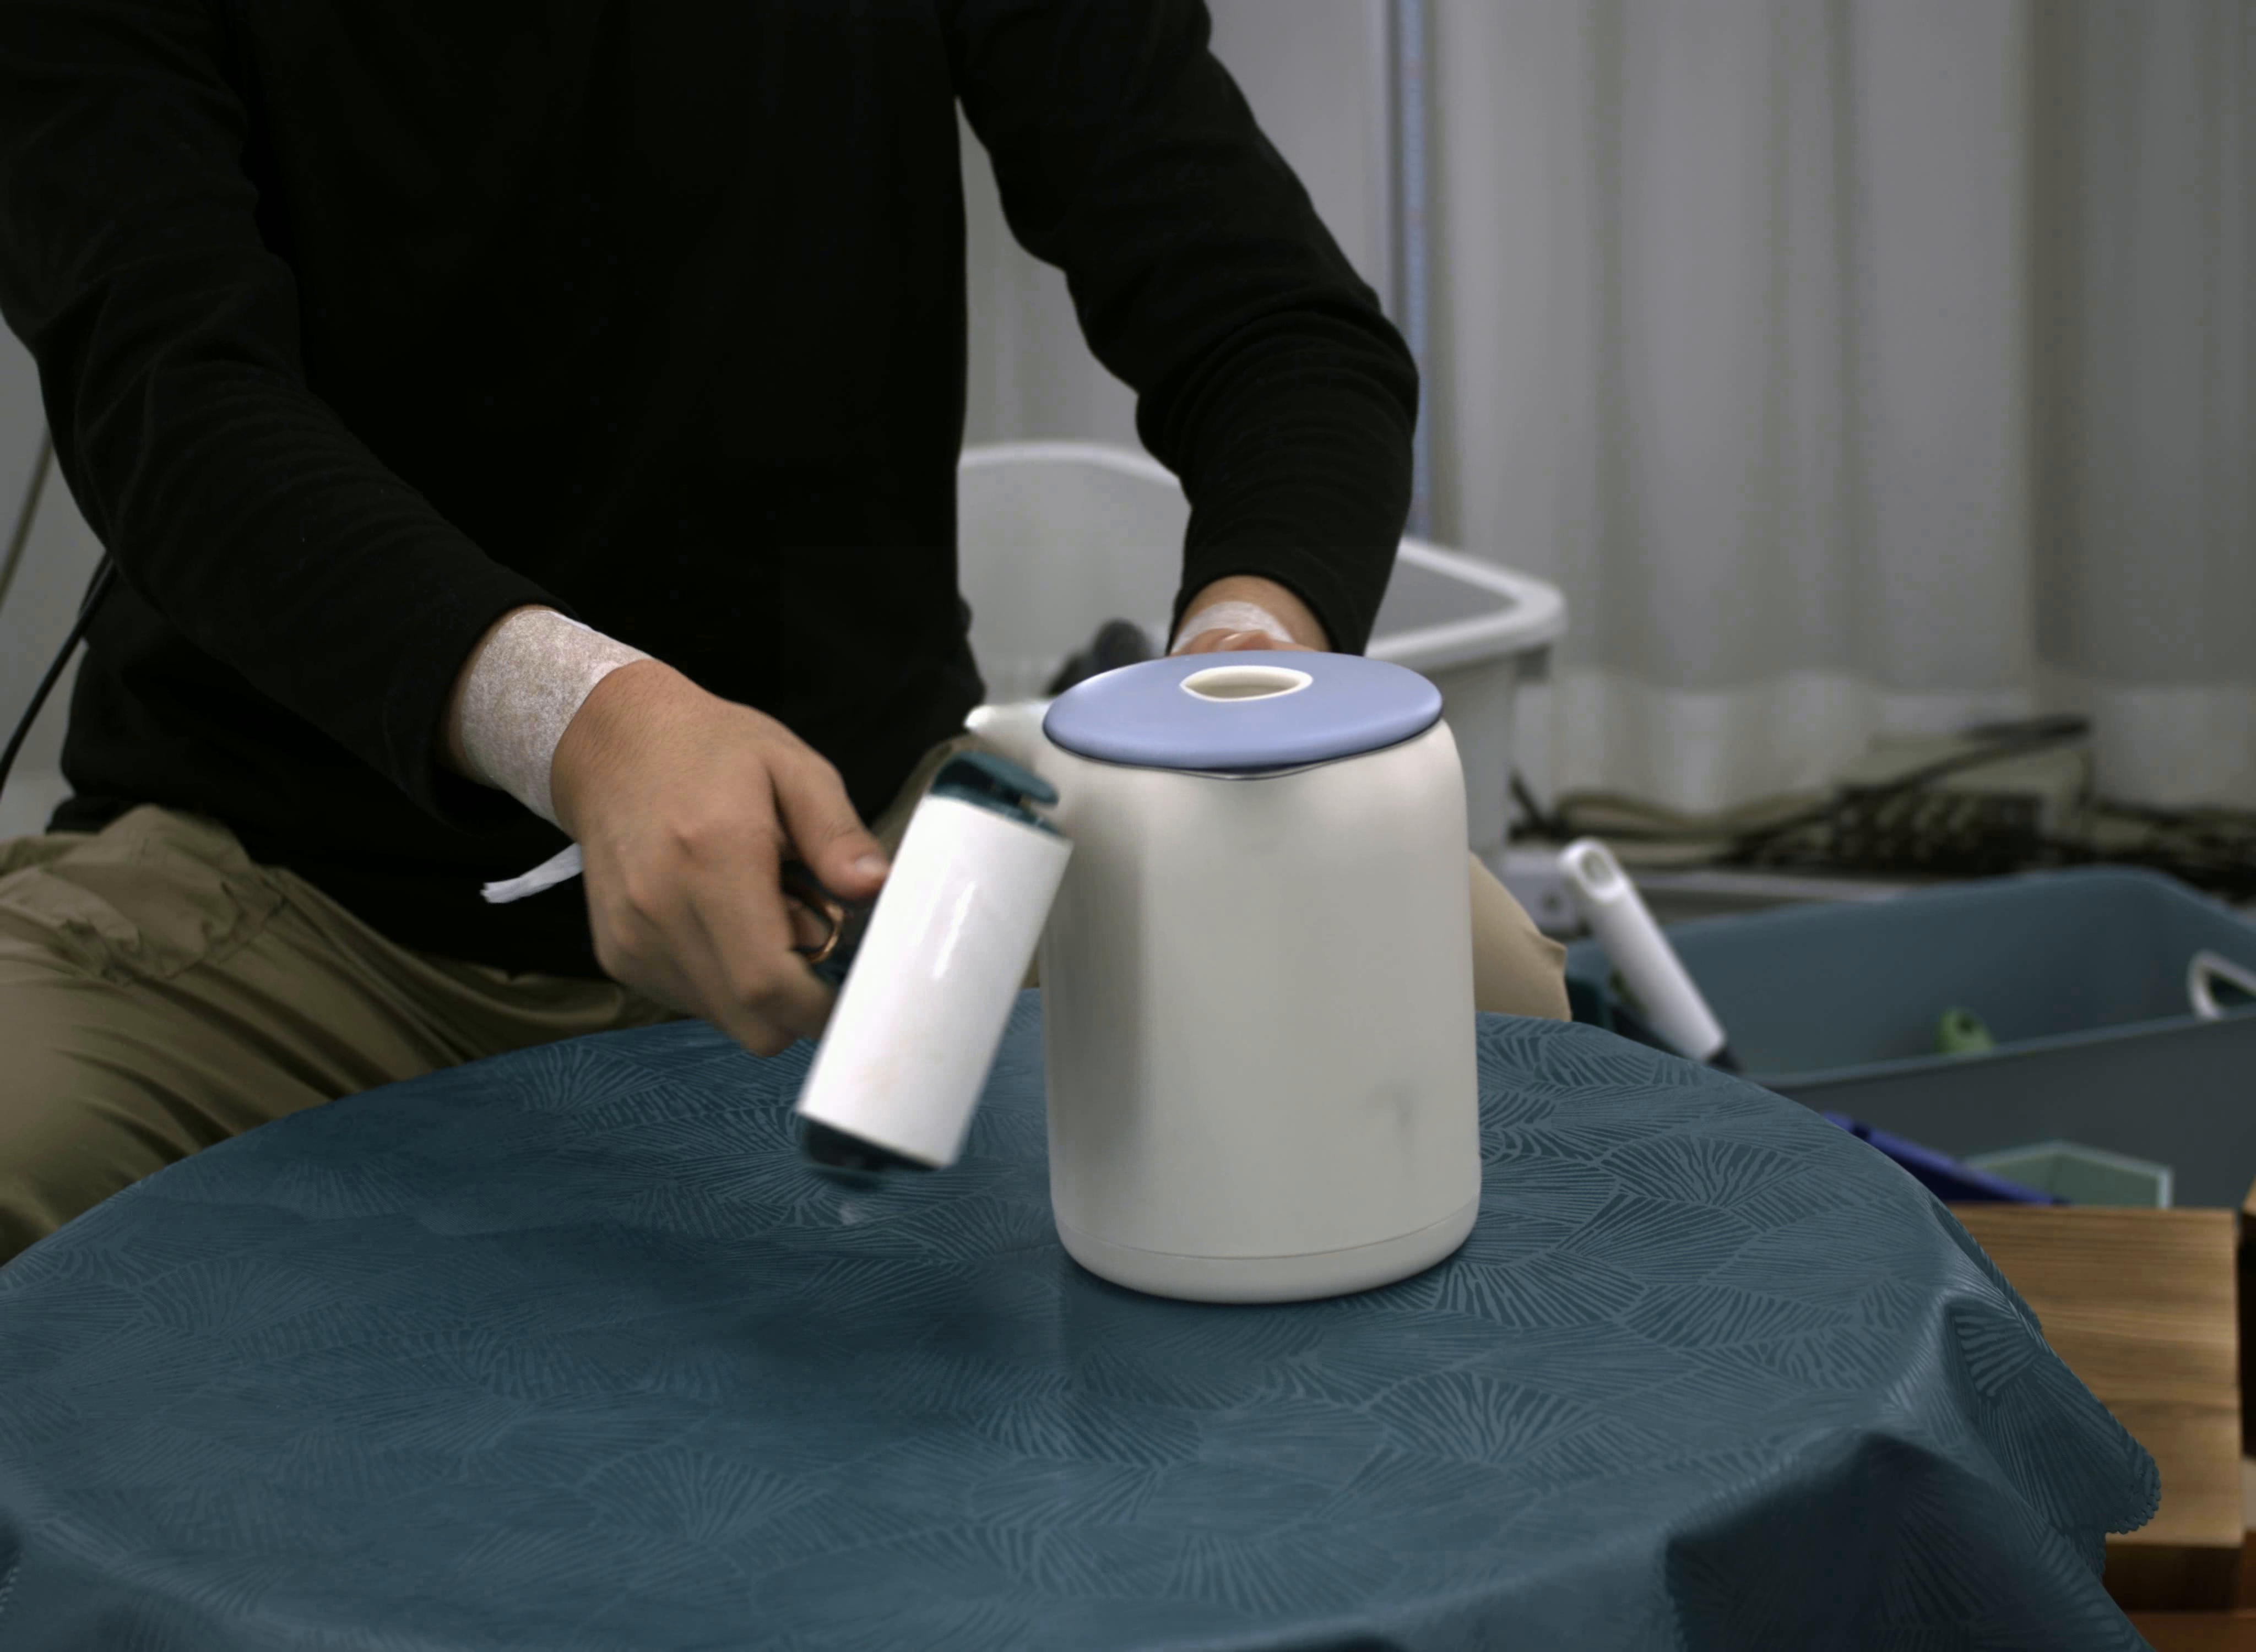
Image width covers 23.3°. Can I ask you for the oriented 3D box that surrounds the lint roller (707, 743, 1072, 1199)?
[{"bbox_3d":[-0.091,0.030,1.621,0.048,0.135,0.181,21,-3,-37],"label":"lint roller"}]

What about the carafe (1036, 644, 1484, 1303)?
[{"bbox_3d":[0.038,0.037,1.666,0.132,0.182,0.192,-3,12,-1],"label":"carafe"}]
